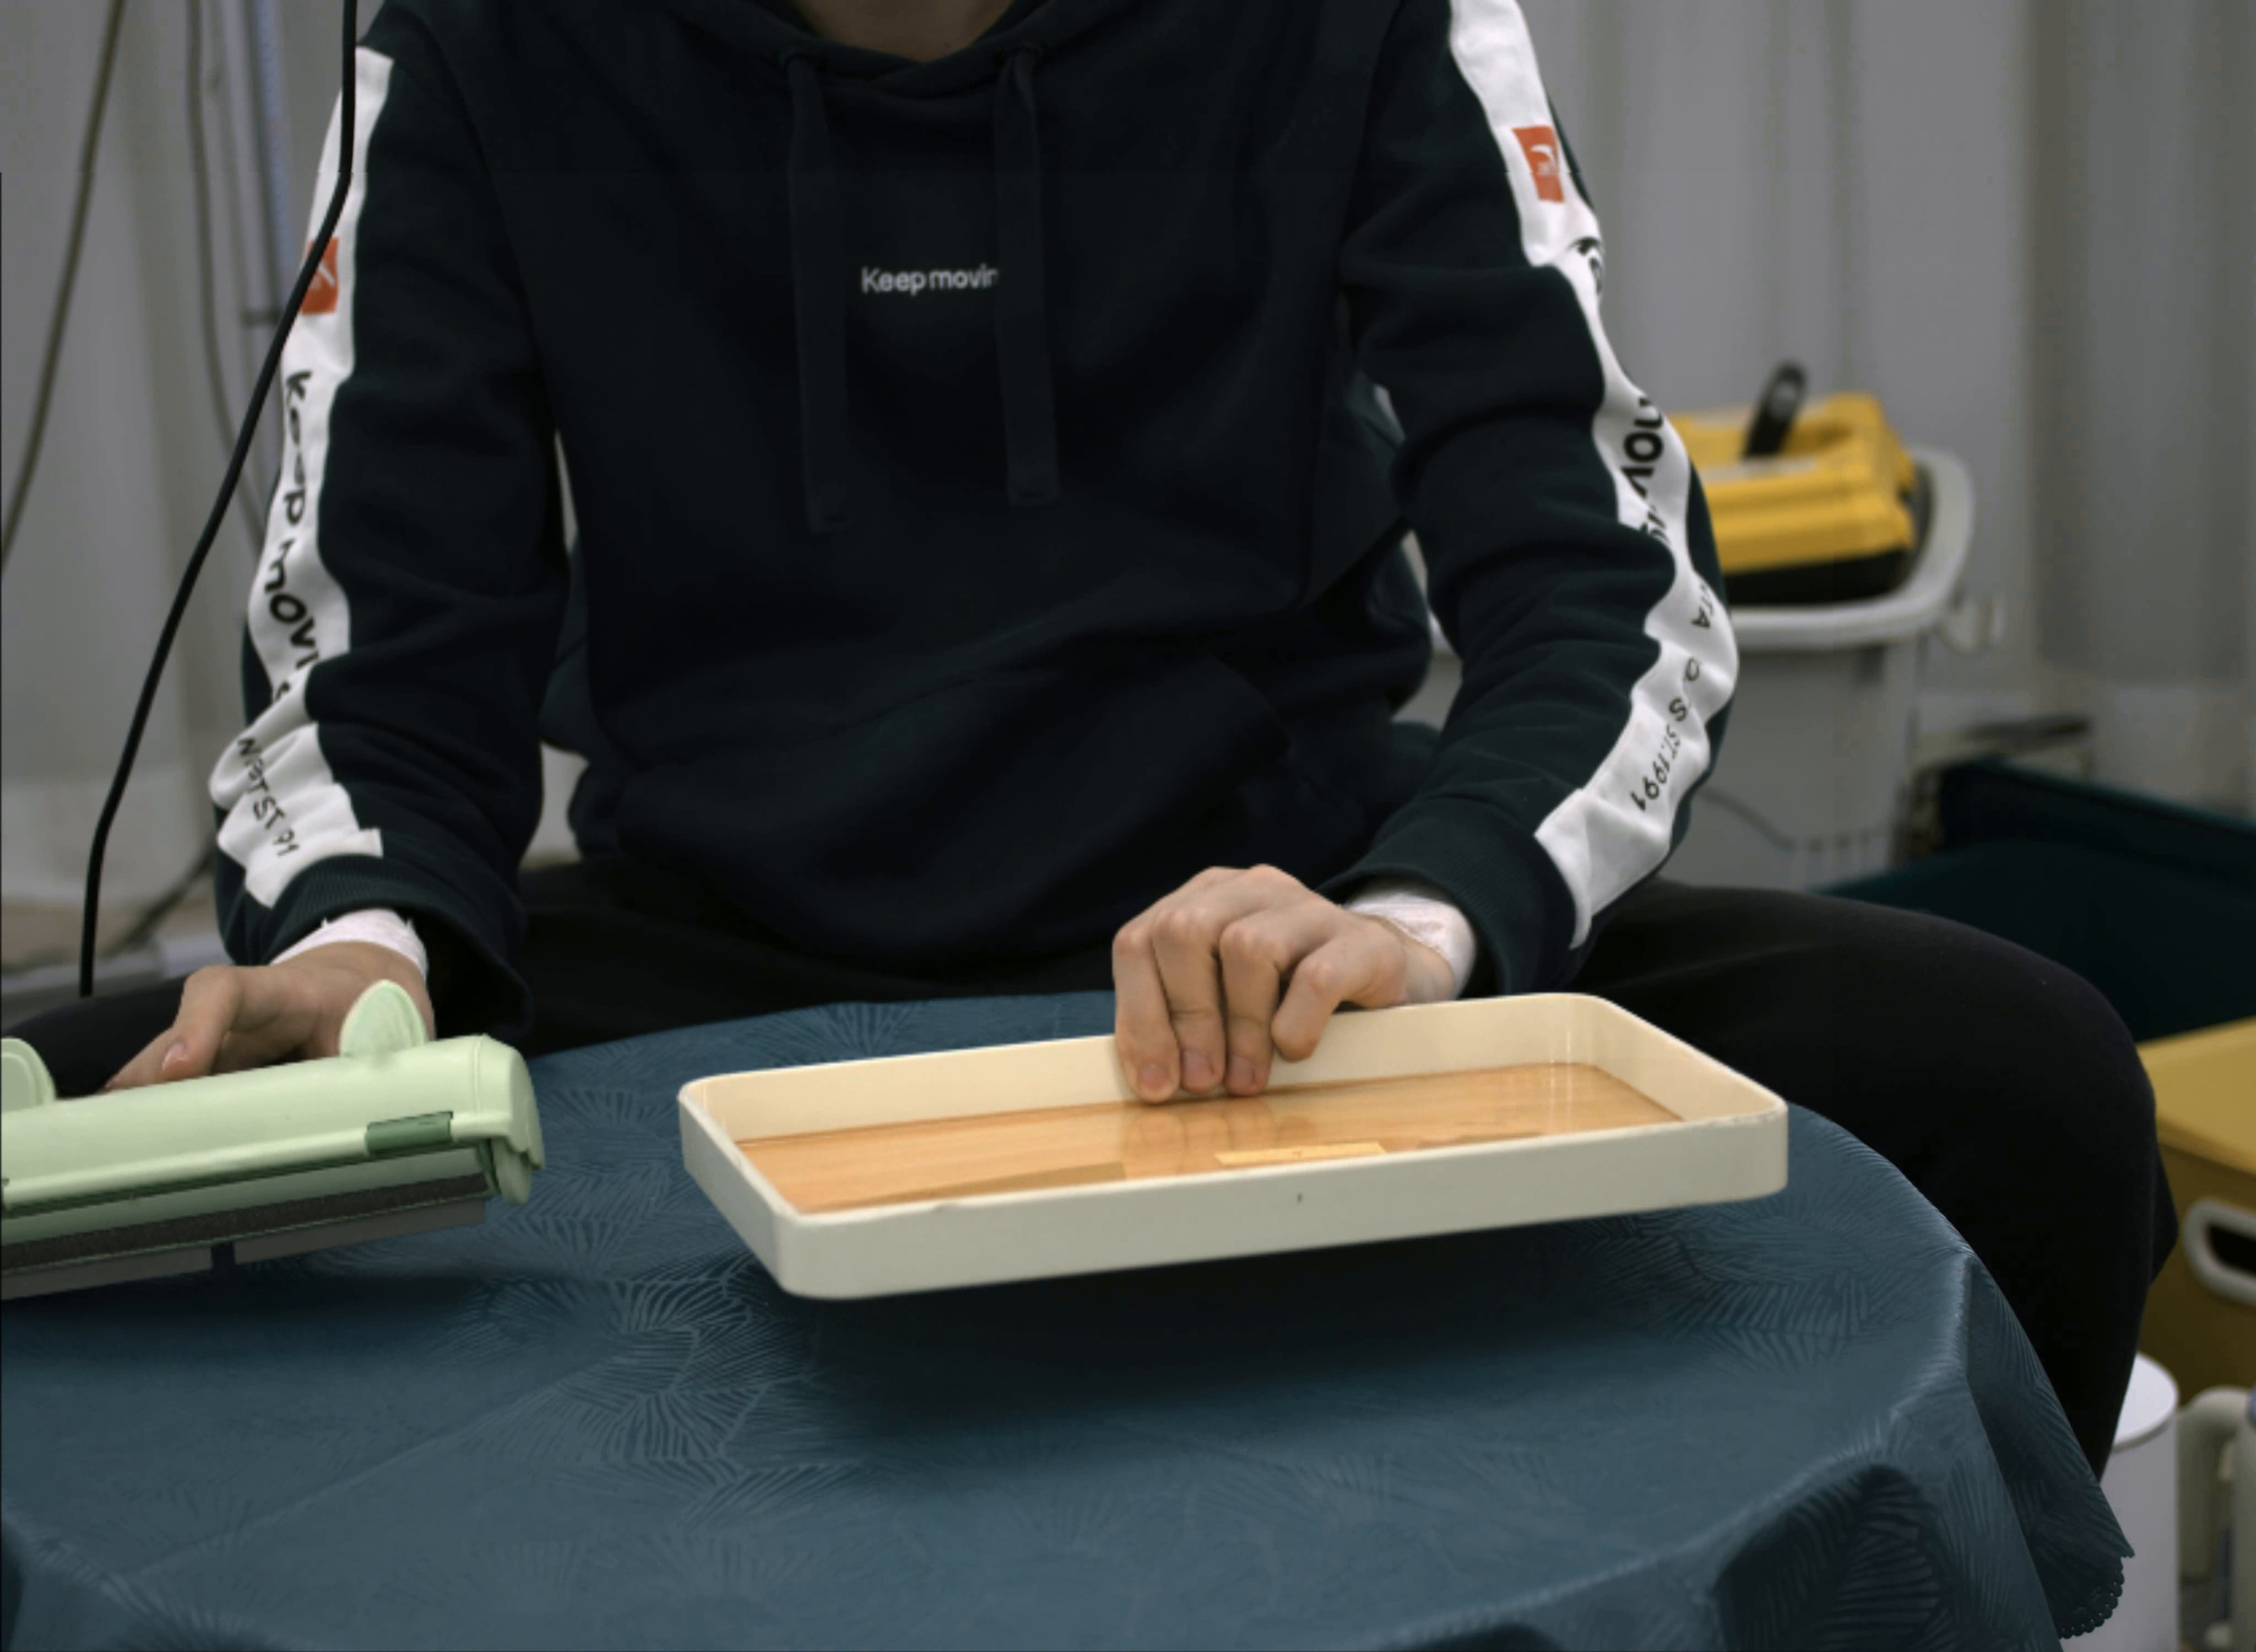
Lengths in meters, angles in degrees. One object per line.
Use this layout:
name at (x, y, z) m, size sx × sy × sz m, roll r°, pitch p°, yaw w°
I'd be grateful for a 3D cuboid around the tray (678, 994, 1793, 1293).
tray at (0.028, 0.092, 1.619) m, size 0.299 × 0.027 × 0.192 m, roll -5°, pitch 9°, yaw -14°

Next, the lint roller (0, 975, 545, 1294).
lint roller at (-0.278, 0.082, 1.708) m, size 0.198 × 0.082 × 0.184 m, roll -10°, pitch 14°, yaw 4°
